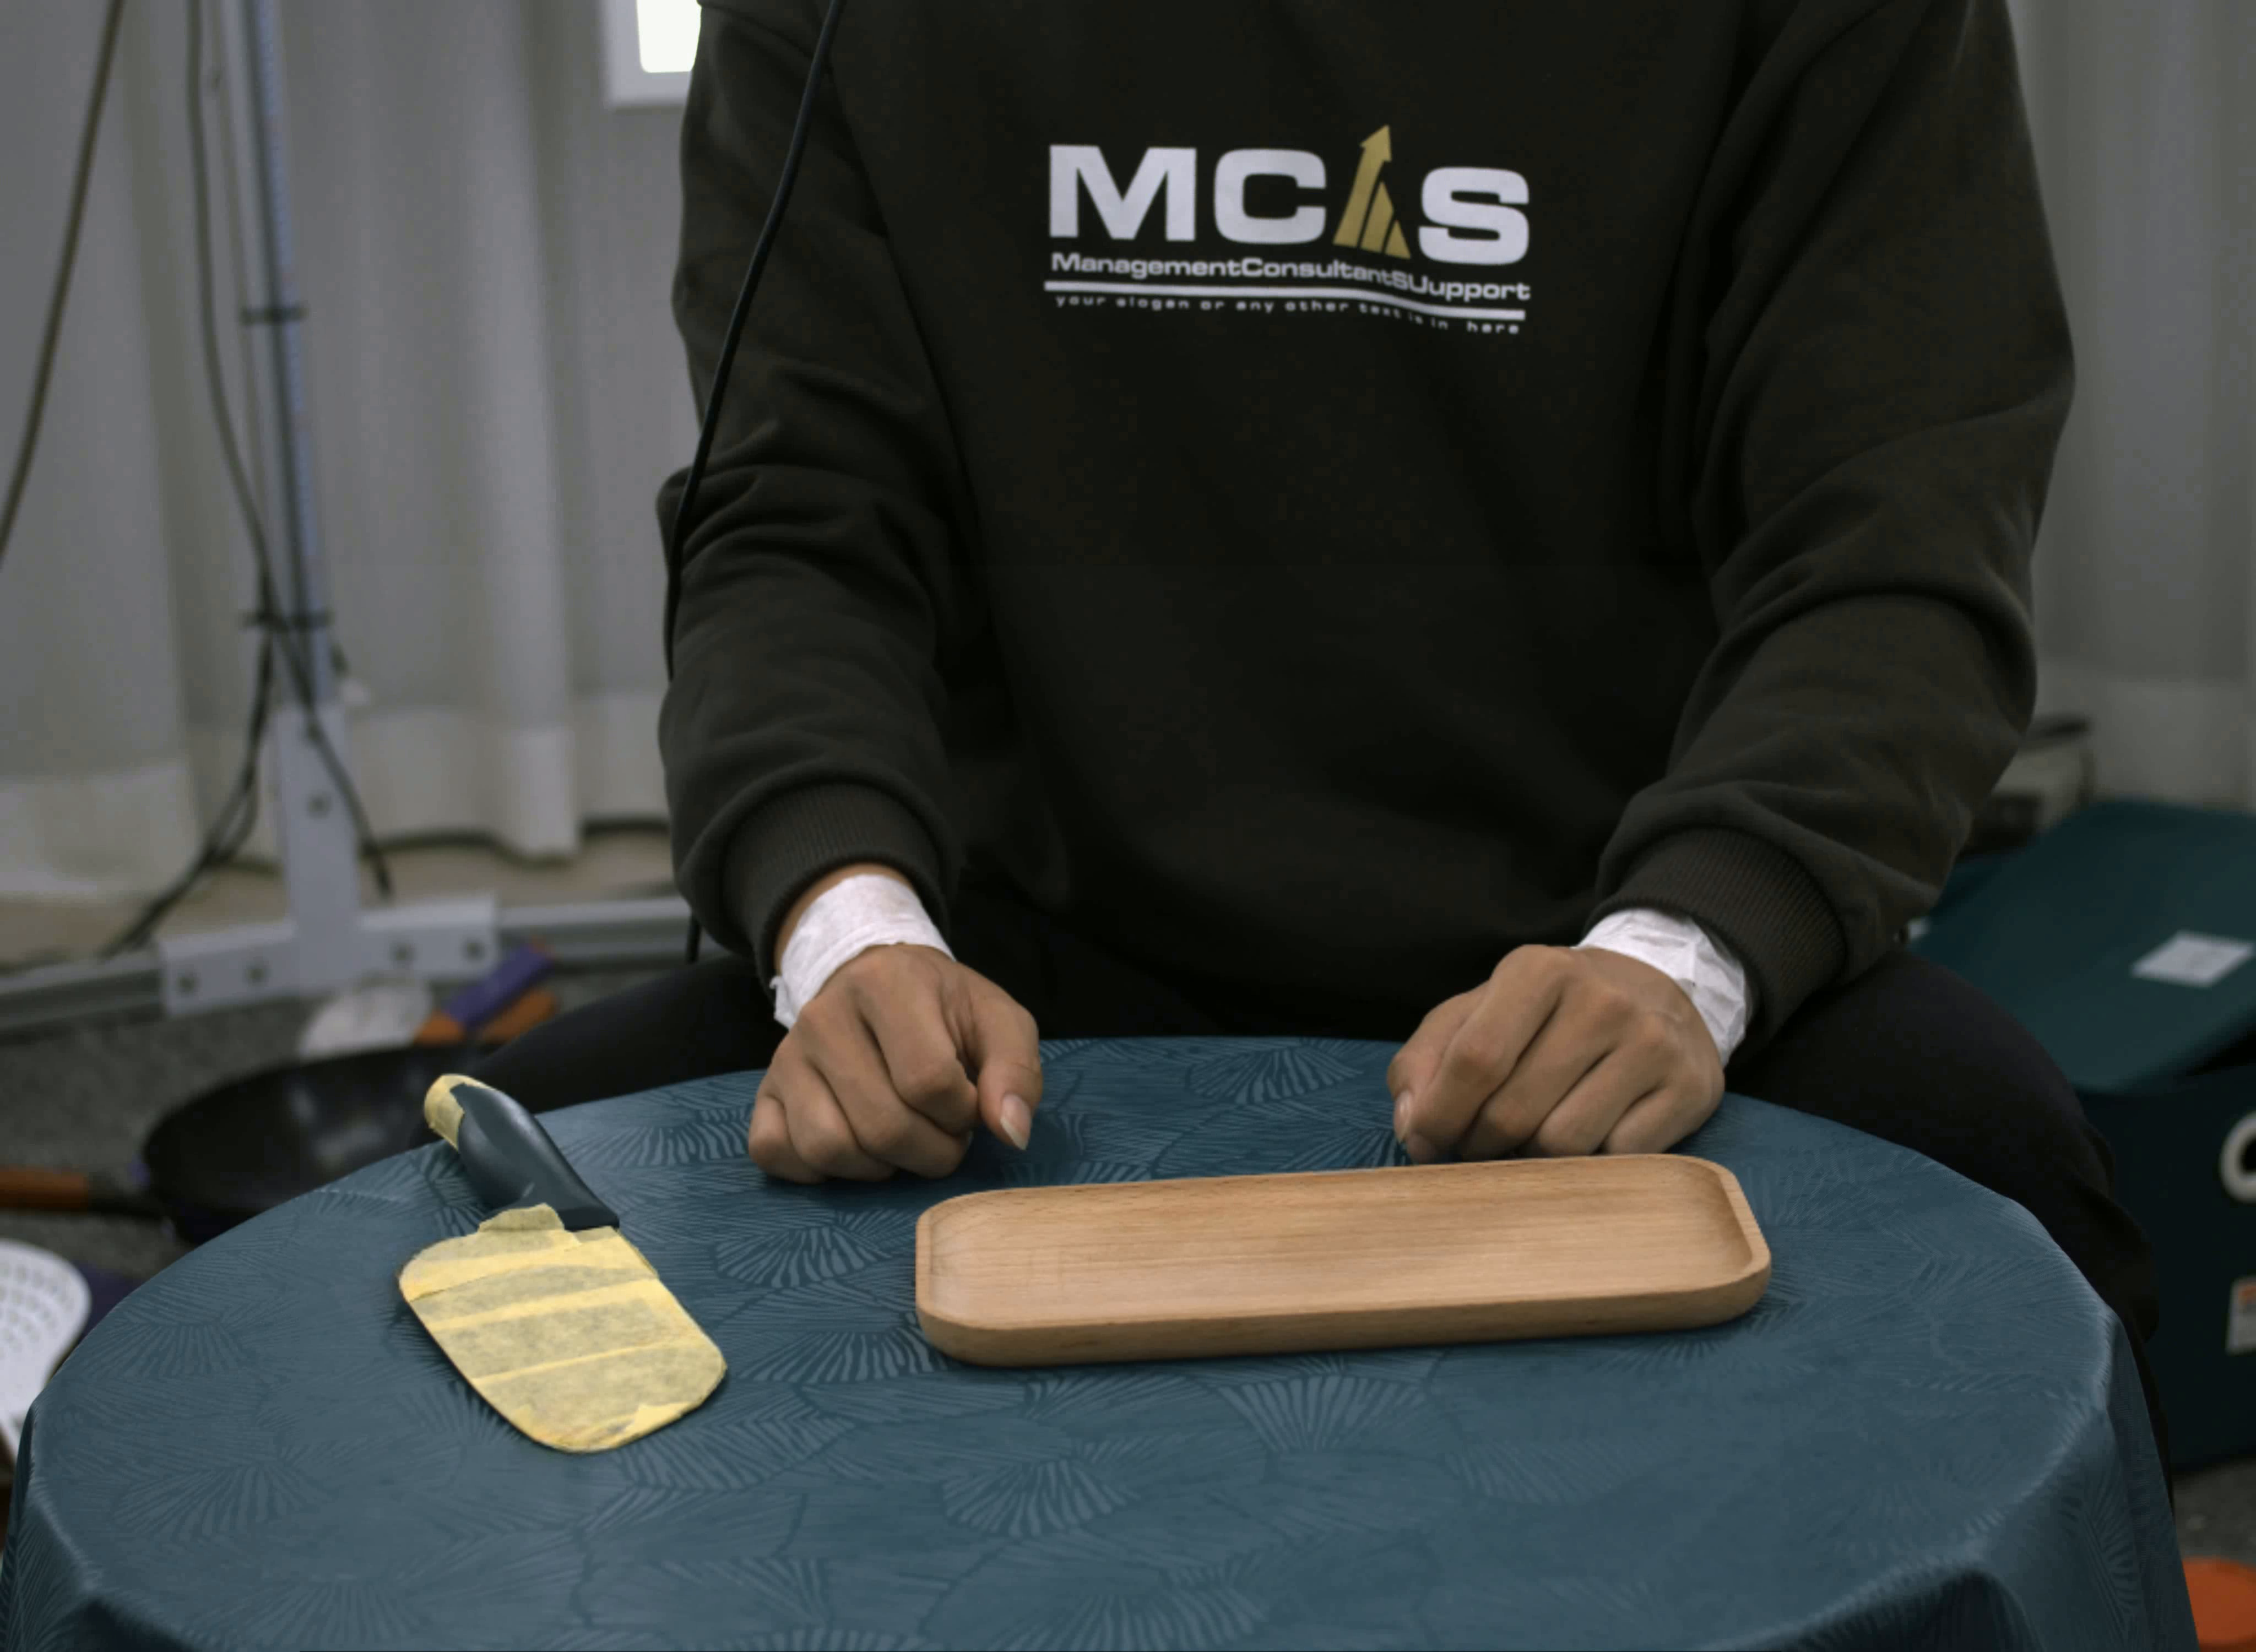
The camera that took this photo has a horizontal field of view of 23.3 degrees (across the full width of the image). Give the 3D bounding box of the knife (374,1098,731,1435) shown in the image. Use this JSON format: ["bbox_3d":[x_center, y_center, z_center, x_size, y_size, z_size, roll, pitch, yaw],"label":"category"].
[{"bbox_3d":[-0.185,0.133,1.653,0.080,0.027,0.292,-6,16,-18],"label":"knife"}]

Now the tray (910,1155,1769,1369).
[{"bbox_3d":[0.060,0.129,1.620,0.250,0.023,0.131,-4,12,-1],"label":"tray"}]
